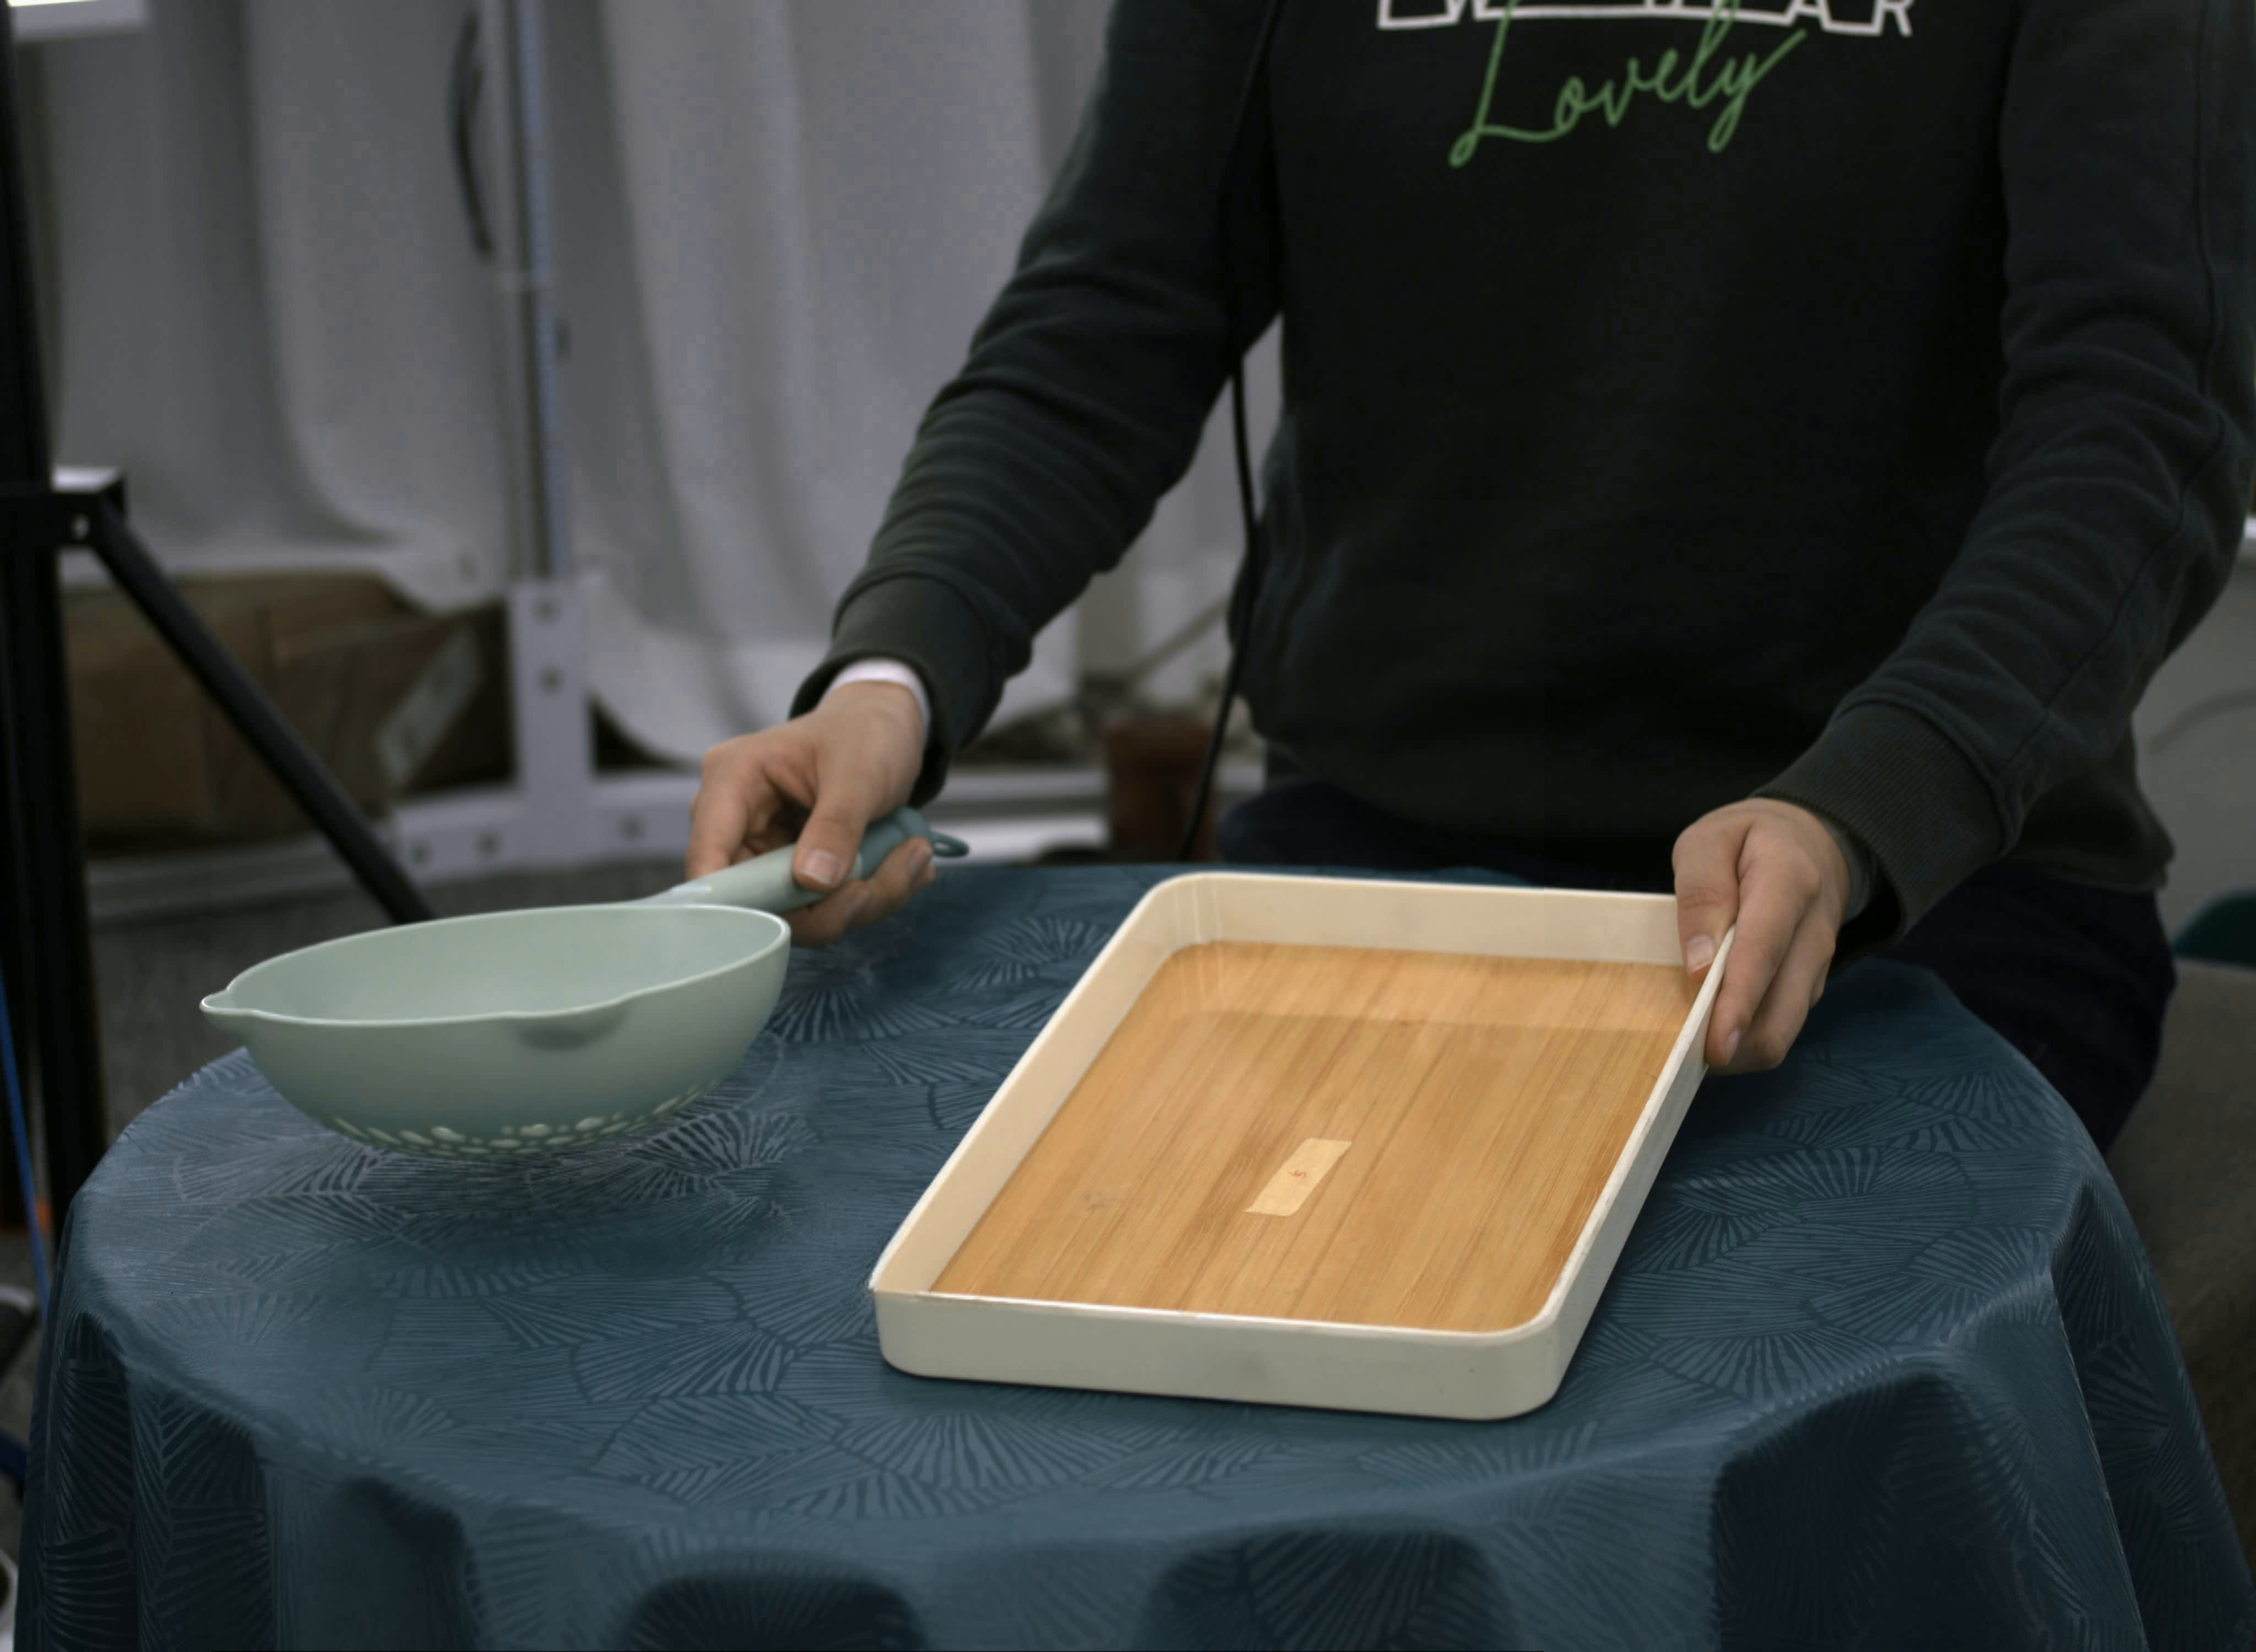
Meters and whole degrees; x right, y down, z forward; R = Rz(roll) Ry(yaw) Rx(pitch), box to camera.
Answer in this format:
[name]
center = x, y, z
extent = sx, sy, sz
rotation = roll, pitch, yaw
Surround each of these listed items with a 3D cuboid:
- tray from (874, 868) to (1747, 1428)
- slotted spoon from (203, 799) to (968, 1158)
[tray]
center = 0.061, 0.085, 1.522
extent = 0.193, 0.027, 0.298
rotation = 3, 23, 18
[slotted spoon]
center = -0.140, 0.033, 1.678
extent = 0.172, 0.075, 0.354
rotation = -1, 19, 27
